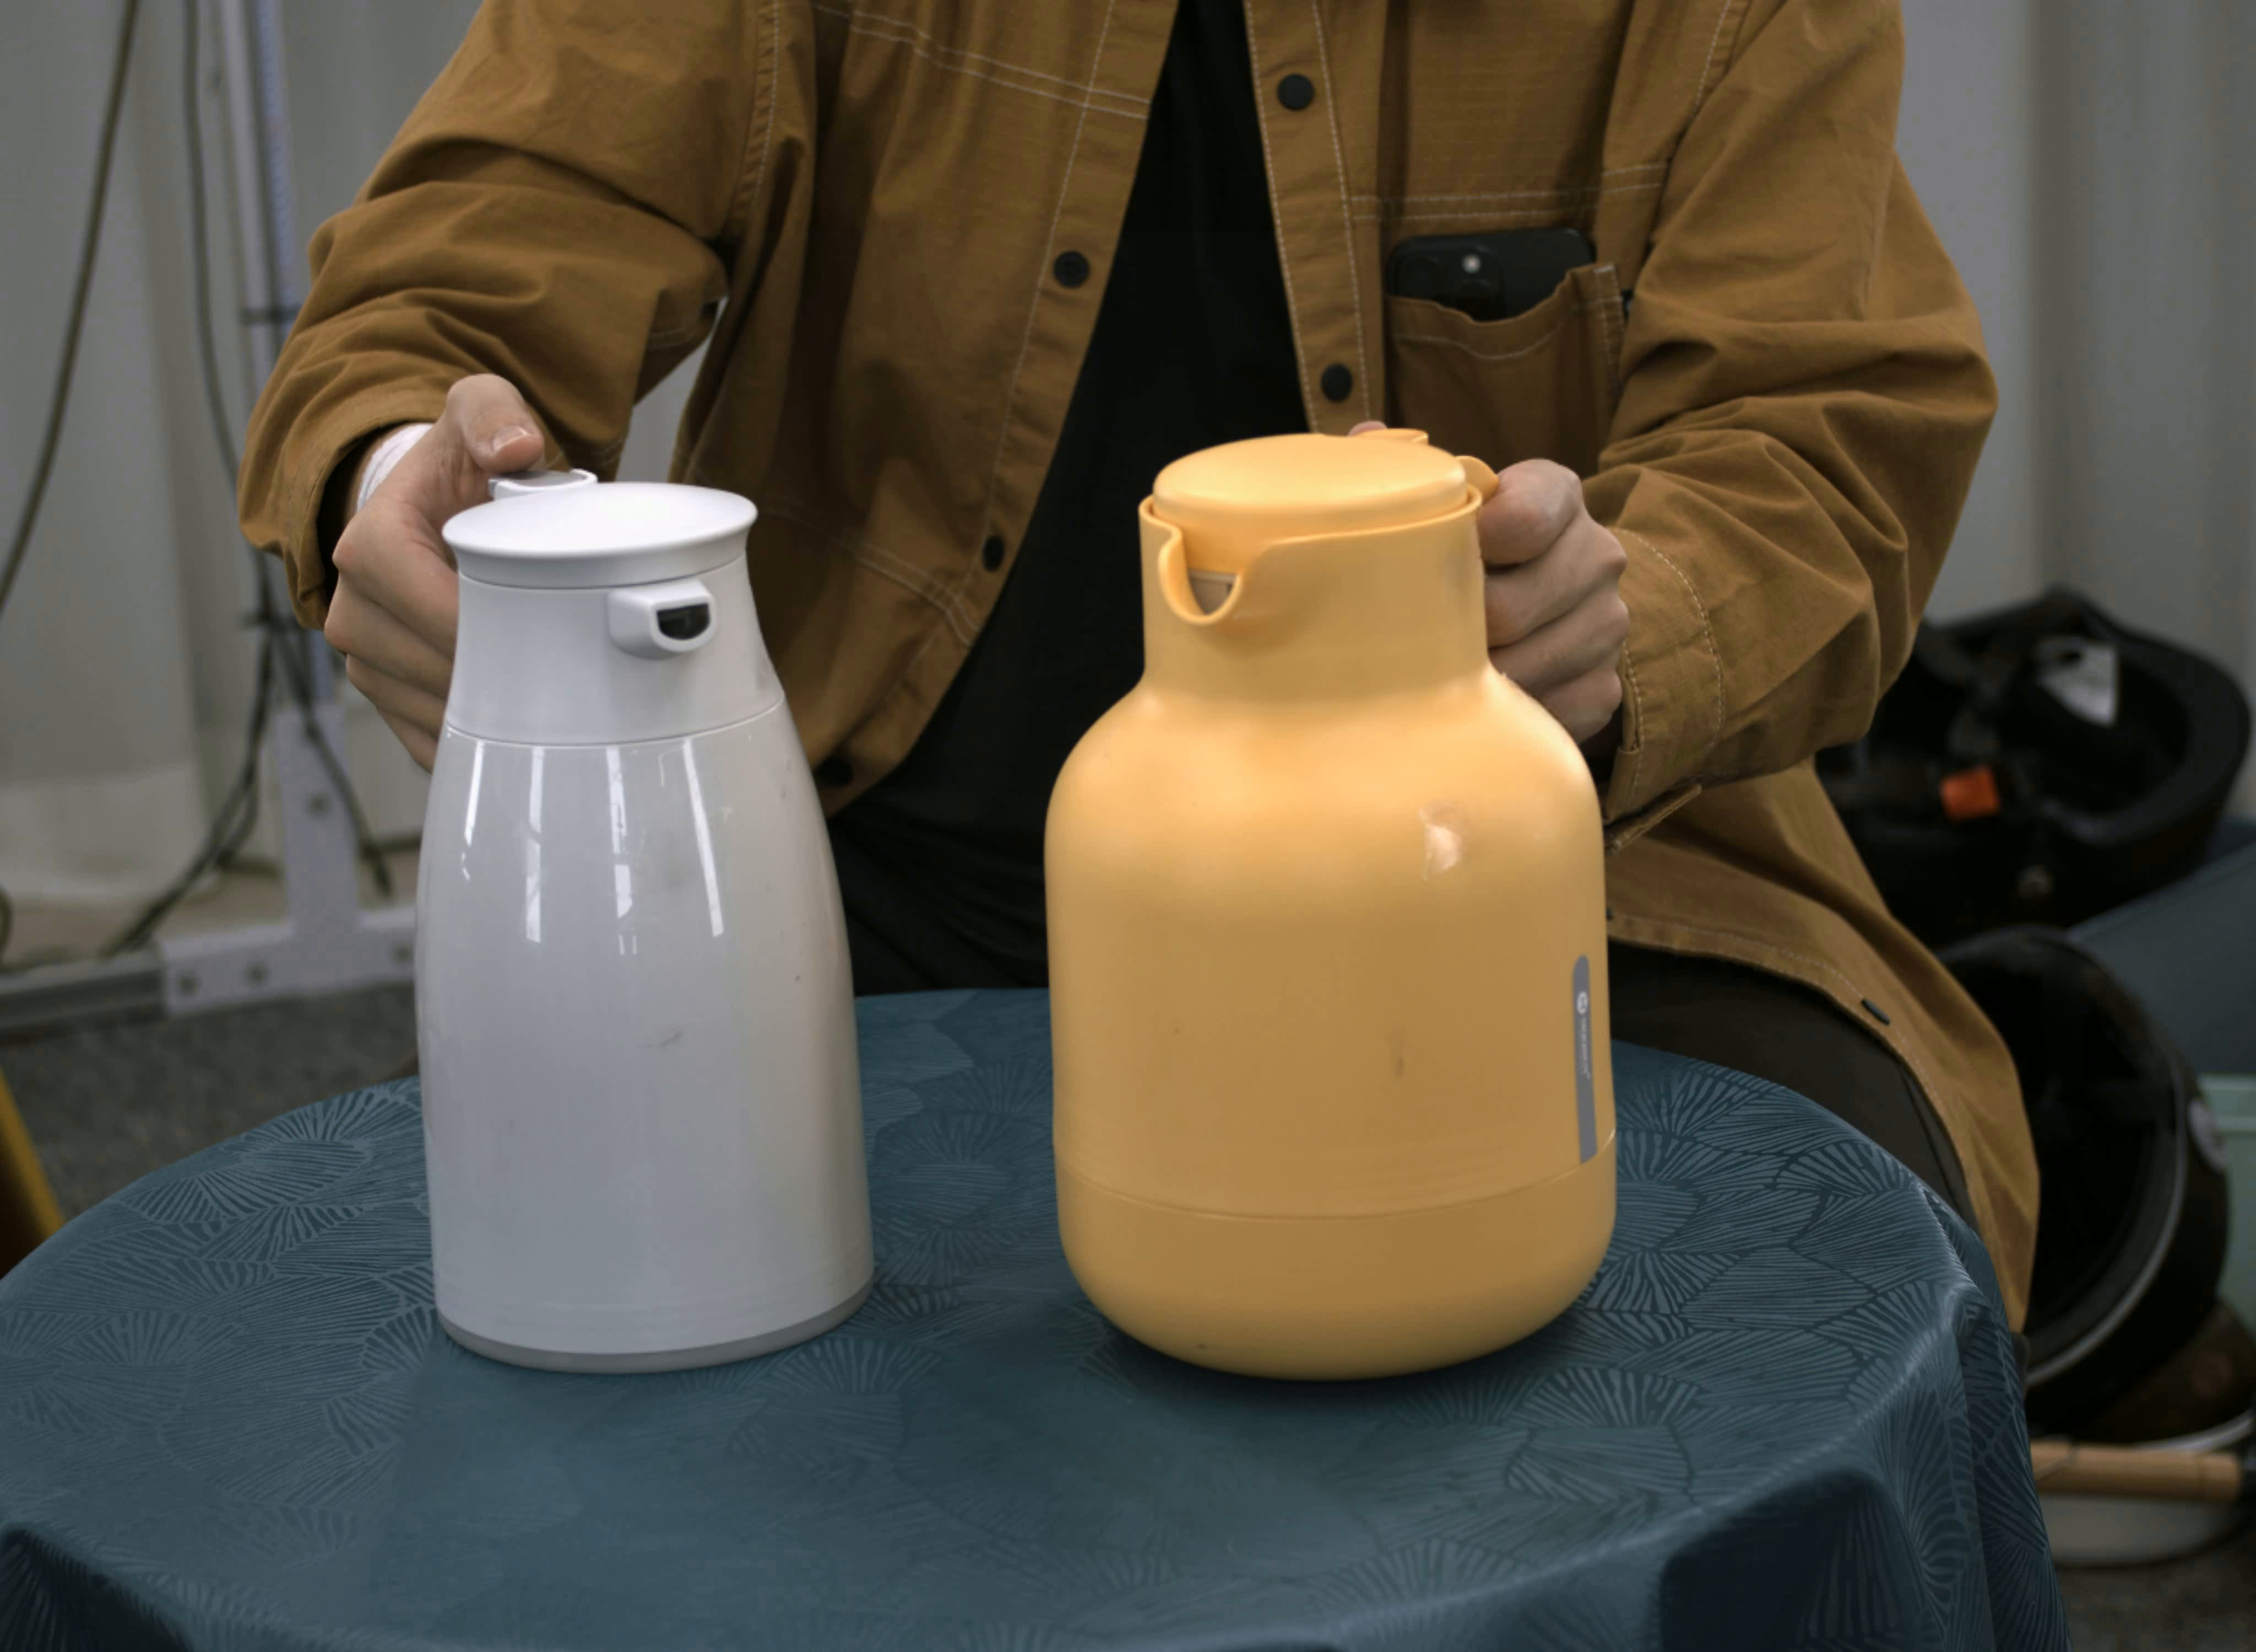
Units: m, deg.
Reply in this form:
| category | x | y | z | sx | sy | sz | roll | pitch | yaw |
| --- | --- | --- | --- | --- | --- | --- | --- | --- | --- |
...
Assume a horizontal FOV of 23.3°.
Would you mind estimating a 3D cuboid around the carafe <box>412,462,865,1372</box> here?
| category | x | y | z | sx | sy | sz | roll | pitch | yaw |
| --- | --- | --- | --- | --- | --- | --- | --- | --- | --- |
| carafe | -0.157 | 0.018 | 1.627 | 0.132 | 0.248 | 0.169 | -8 | 14 | -25 |

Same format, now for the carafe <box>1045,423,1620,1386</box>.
| category | x | y | z | sx | sy | sz | roll | pitch | yaw |
| --- | --- | --- | --- | --- | --- | --- | --- | --- | --- |
| carafe | 0.067 | 0.014 | 1.579 | 0.164 | 0.259 | 0.203 | 7 | 18 | 29 |
